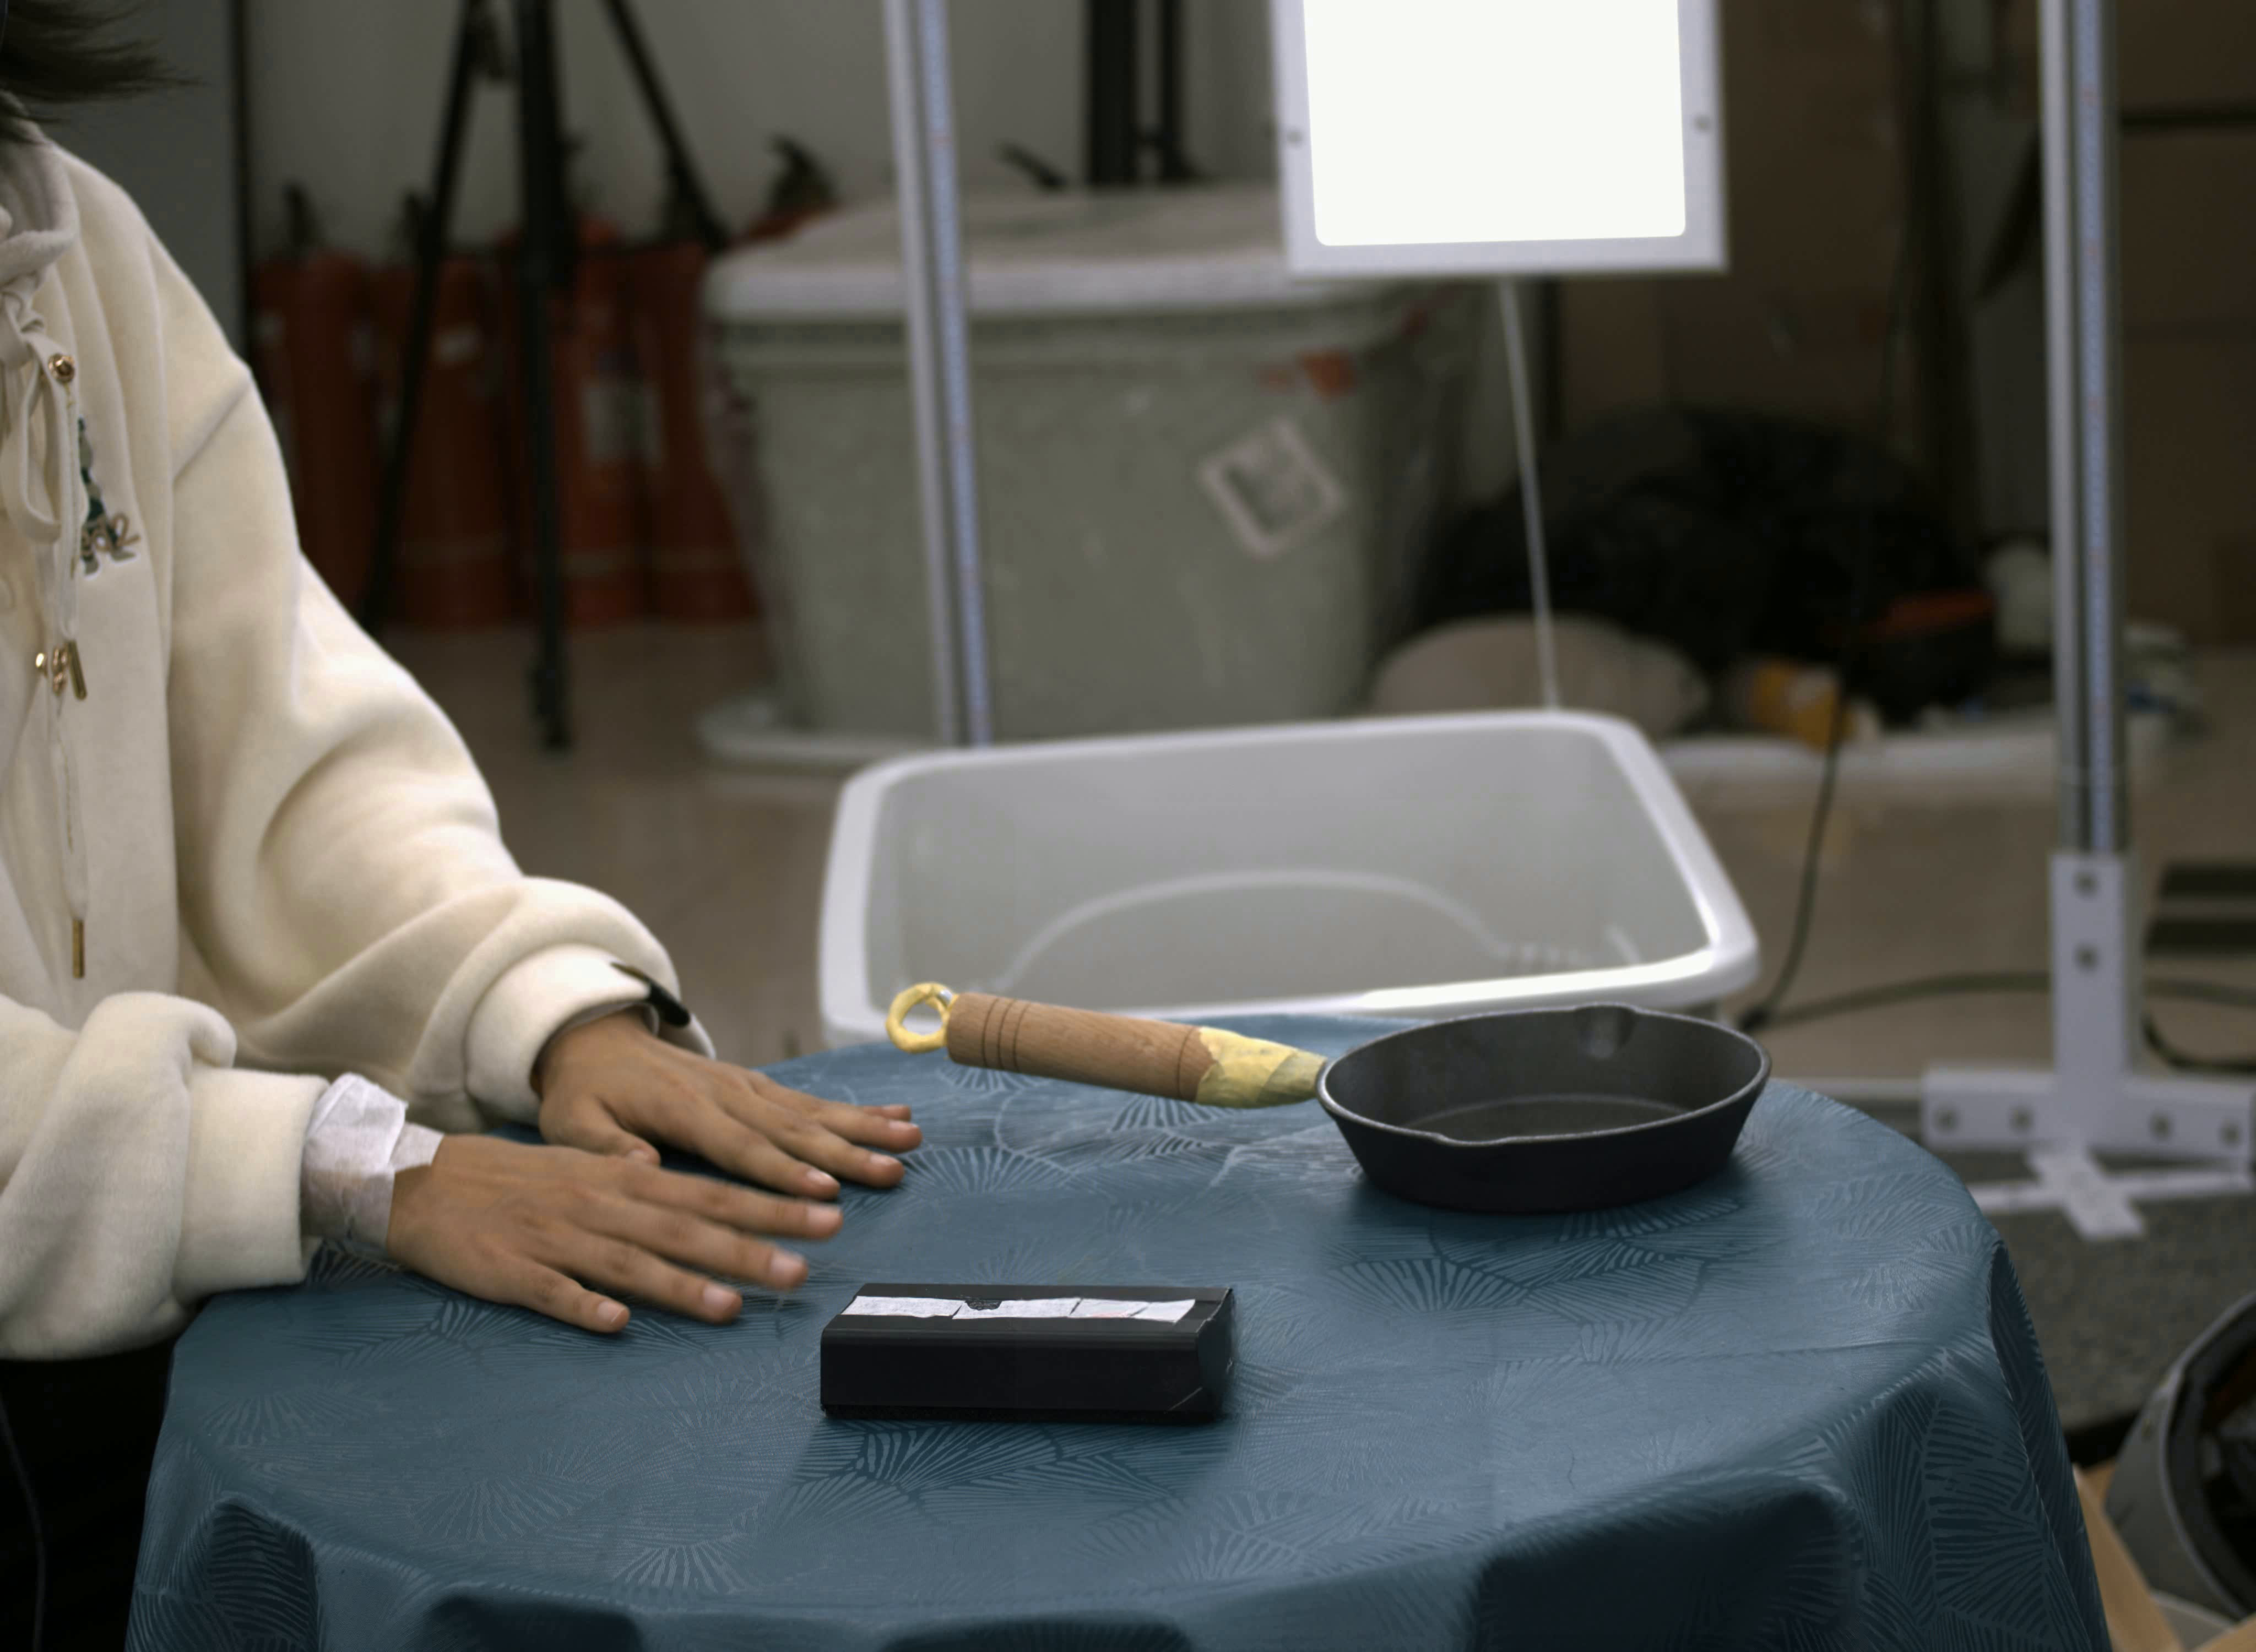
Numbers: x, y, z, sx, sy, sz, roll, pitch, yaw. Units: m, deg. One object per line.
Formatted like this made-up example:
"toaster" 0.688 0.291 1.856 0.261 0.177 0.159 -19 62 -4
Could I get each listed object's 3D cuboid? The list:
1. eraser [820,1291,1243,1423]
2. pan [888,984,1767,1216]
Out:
"eraser" -0.028 0.163 1.702 0.127 0.030 0.052 -2 13 19
"pan" 0.065 0.088 1.923 0.329 0.050 0.165 3 17 26
